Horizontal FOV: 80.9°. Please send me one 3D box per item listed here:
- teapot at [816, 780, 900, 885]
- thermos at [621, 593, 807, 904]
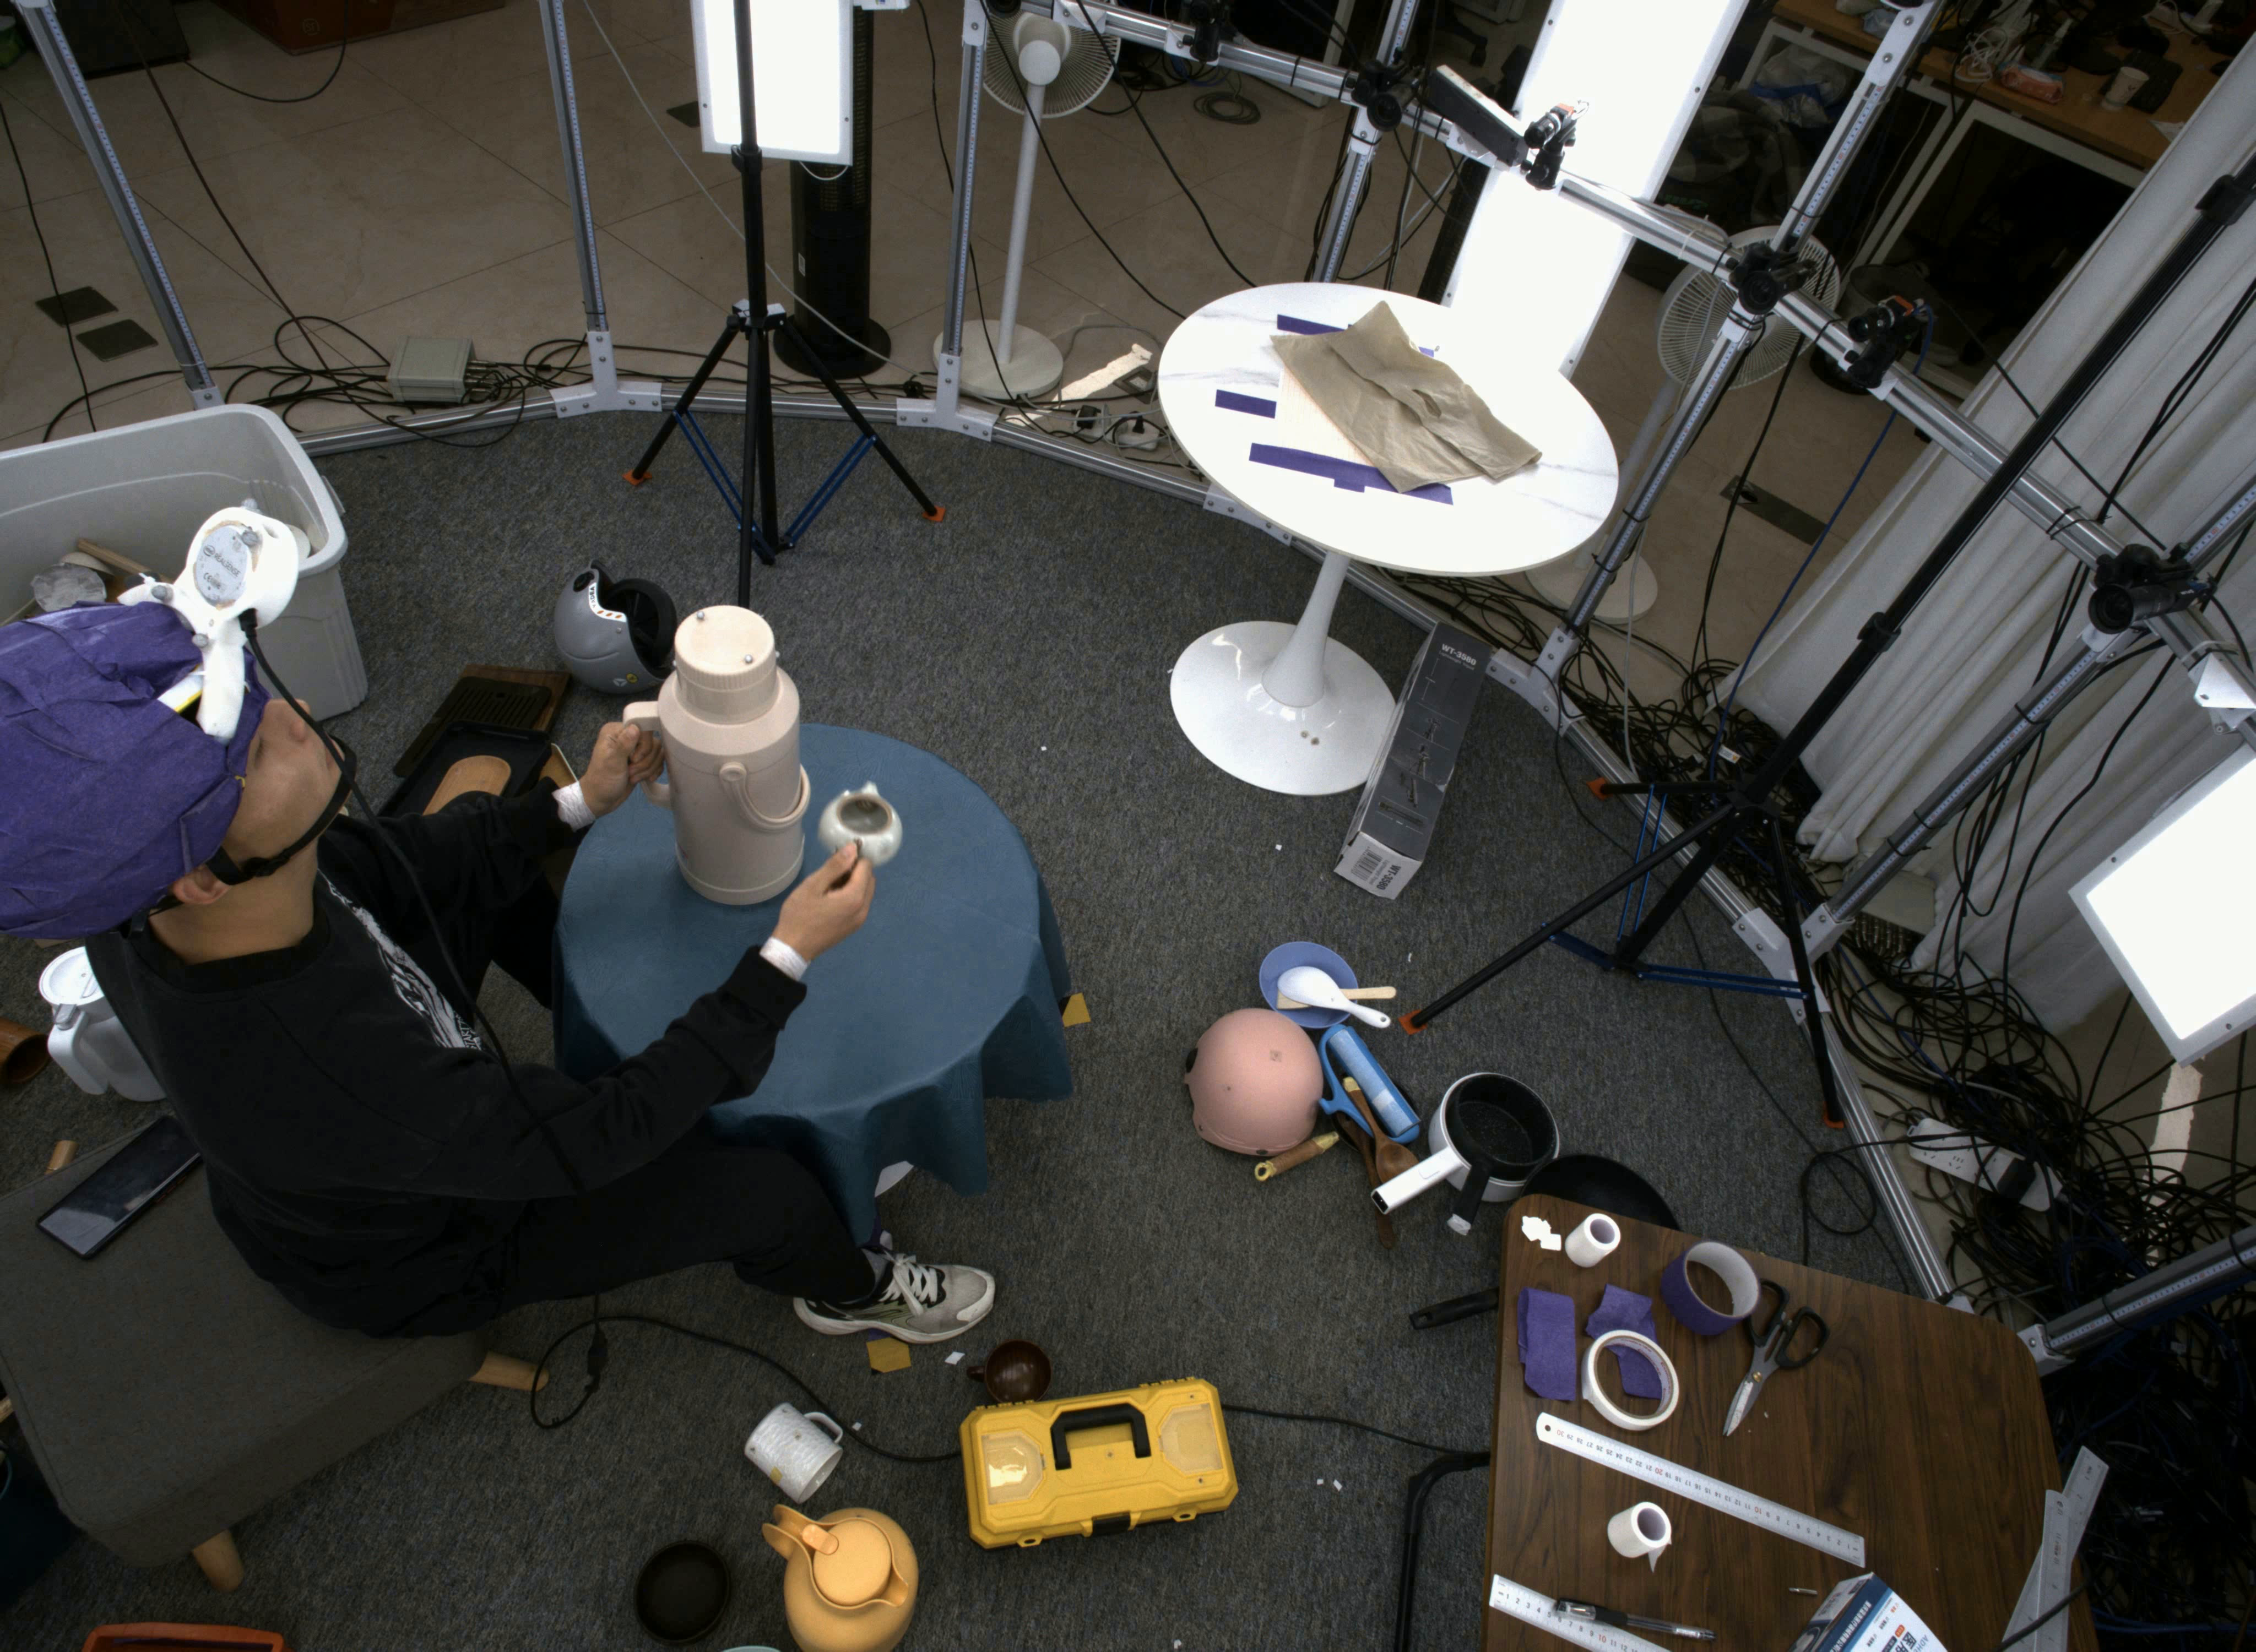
[{"bbox_3d":[-0.297,0.009,1.421,0.092,0.060,0.125,14,44,-13],"label":"teapot"},{"bbox_3d":[-0.483,-0.087,1.513,0.208,0.414,0.171,-5,56,-17],"label":"thermos"}]
